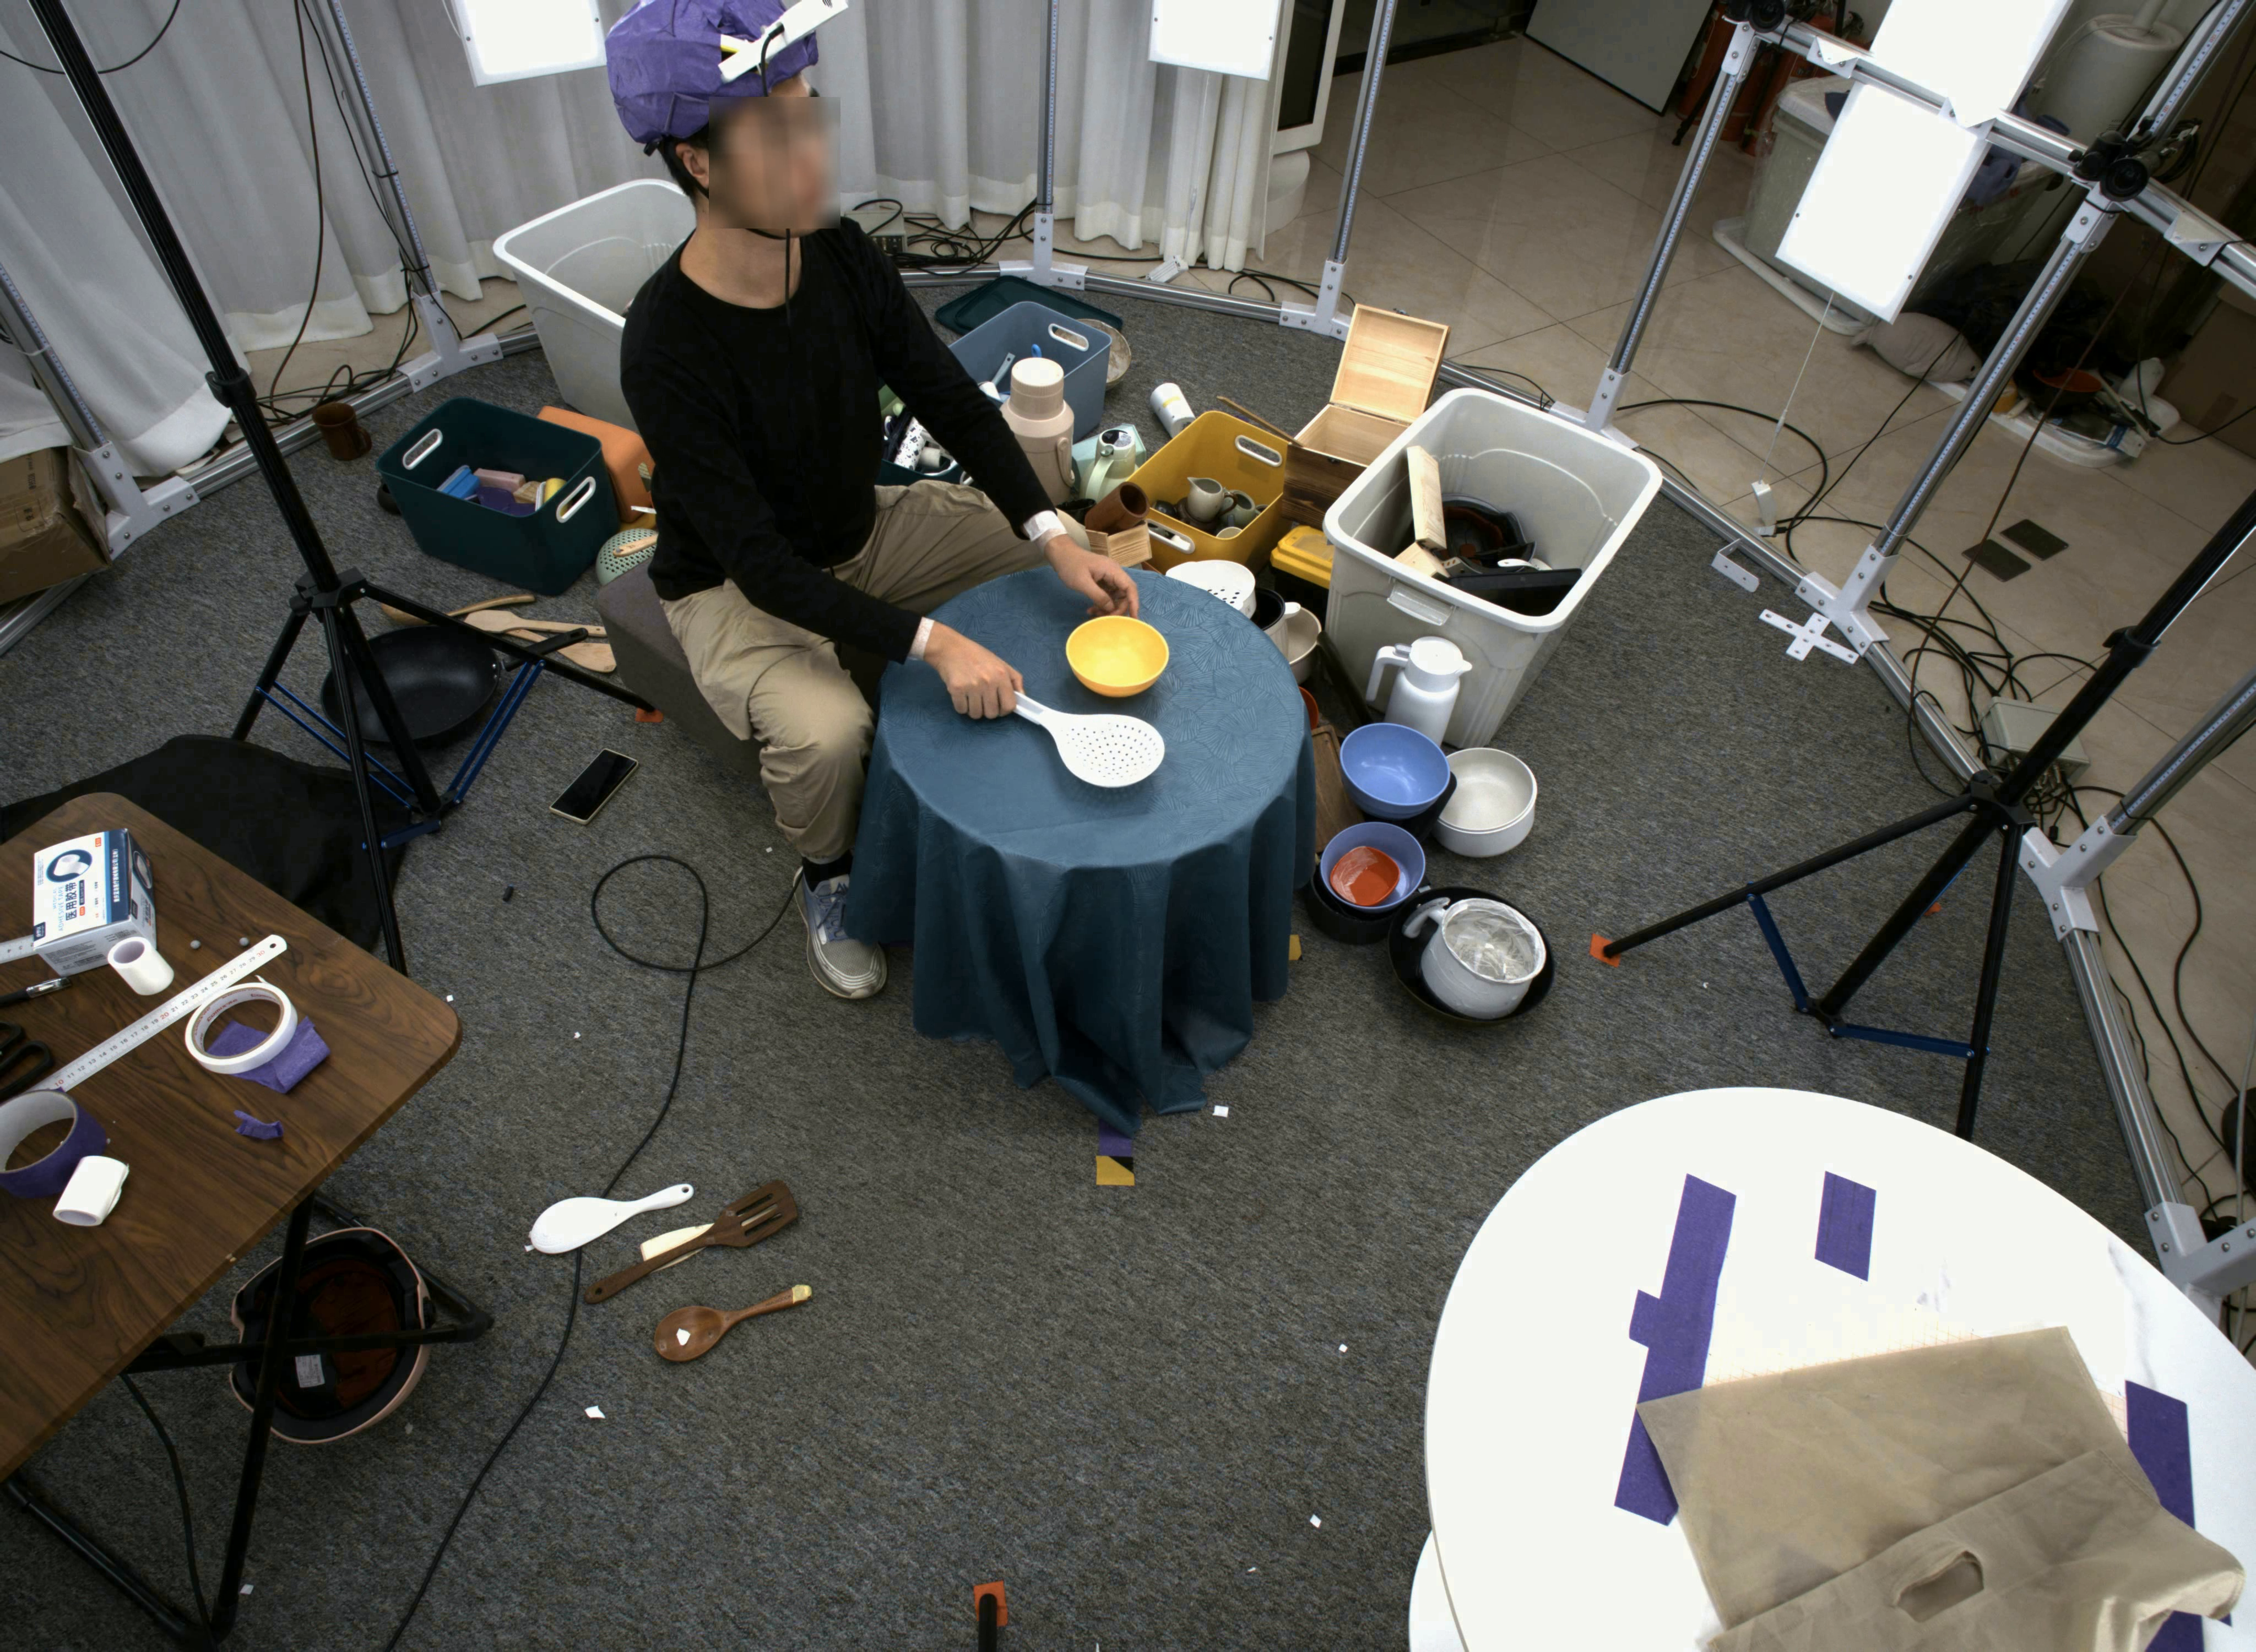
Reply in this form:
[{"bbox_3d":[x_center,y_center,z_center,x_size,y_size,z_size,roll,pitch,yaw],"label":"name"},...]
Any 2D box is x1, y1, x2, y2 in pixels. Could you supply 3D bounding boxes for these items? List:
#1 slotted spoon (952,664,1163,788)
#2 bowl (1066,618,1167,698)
[{"bbox_3d":[-0.106,-0.145,1.759,0.354,0.044,0.138,32,55,23],"label":"slotted spoon"},{"bbox_3d":[-0.018,-0.229,1.830,0.145,0.058,0.149,3,48,-4],"label":"bowl"}]
